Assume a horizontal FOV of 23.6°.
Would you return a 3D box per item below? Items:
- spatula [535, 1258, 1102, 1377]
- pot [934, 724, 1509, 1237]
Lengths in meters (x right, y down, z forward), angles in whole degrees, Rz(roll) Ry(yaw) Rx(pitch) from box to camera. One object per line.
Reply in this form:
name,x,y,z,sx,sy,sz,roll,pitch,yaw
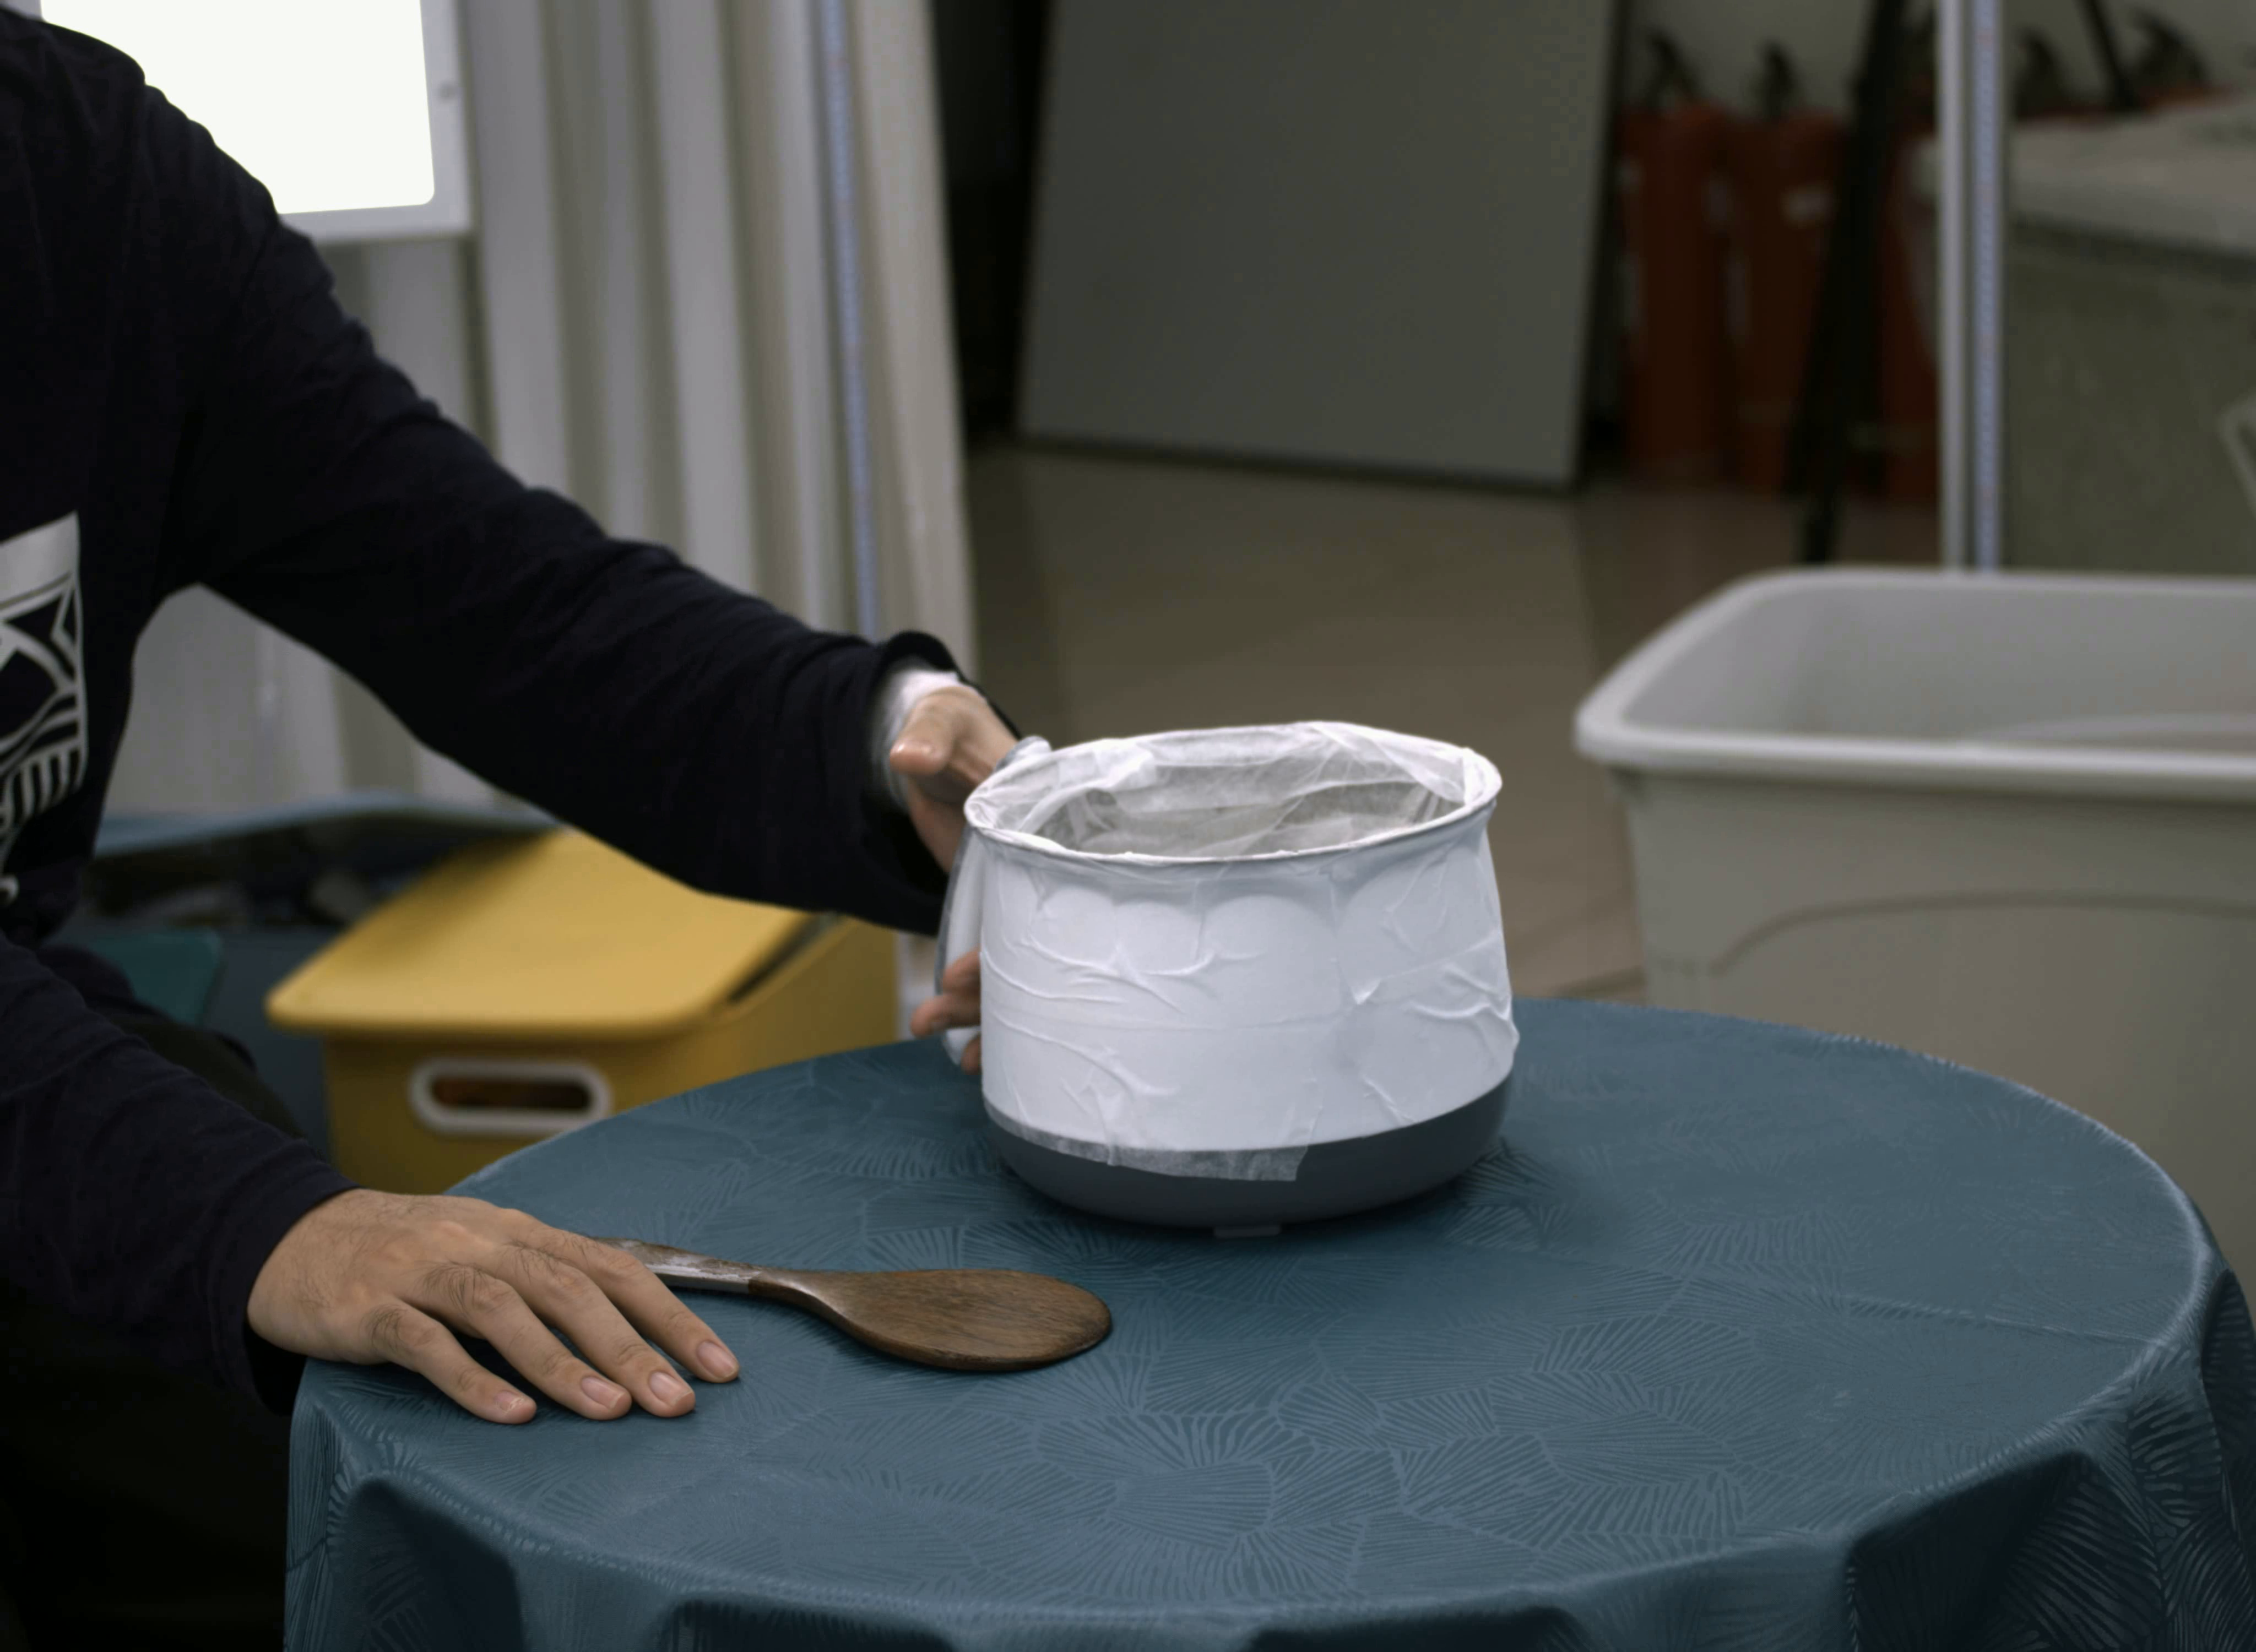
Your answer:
spatula,-0.100,0.149,1.684,0.217,0.009,0.070,5,15,36
pot,0.019,0.044,1.789,0.175,0.138,0.236,-12,17,-42
